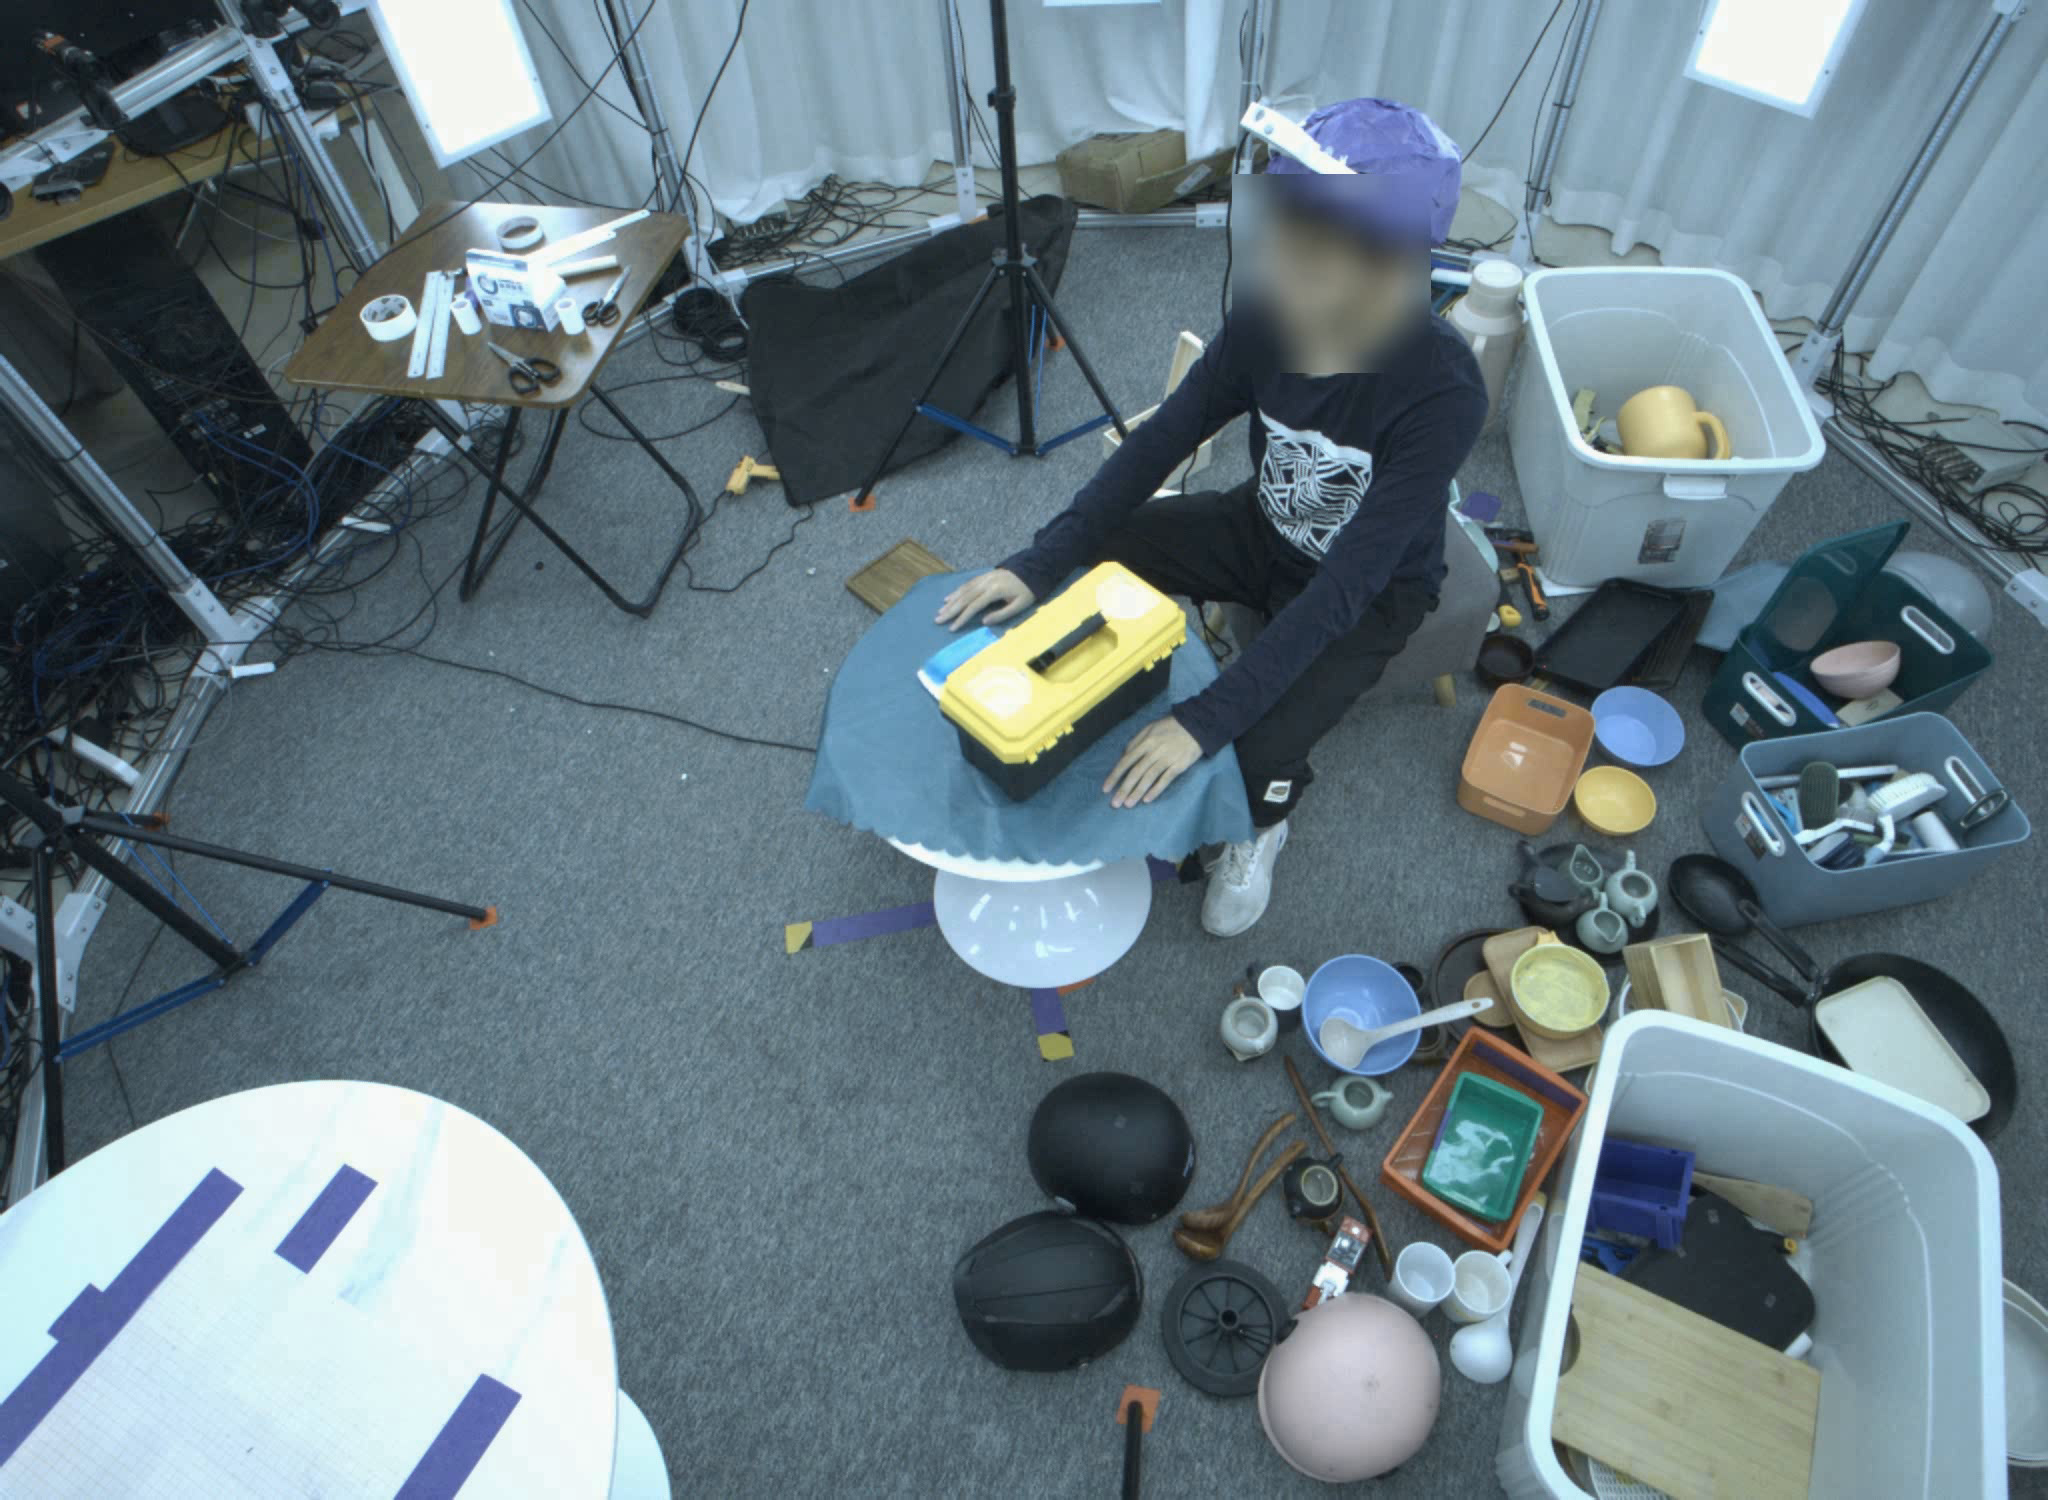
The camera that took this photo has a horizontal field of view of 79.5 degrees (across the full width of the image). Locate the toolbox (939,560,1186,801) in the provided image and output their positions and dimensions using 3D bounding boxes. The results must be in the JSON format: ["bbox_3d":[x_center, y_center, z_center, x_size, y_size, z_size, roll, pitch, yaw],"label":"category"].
[{"bbox_3d":[0.058,-0.099,1.740,0.354,0.175,0.178,-39,61,-22],"label":"toolbox"}]

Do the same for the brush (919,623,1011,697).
[{"bbox_3d":[-0.084,-0.144,1.848,0.145,0.056,0.082,-31,62,-16],"label":"brush"}]
